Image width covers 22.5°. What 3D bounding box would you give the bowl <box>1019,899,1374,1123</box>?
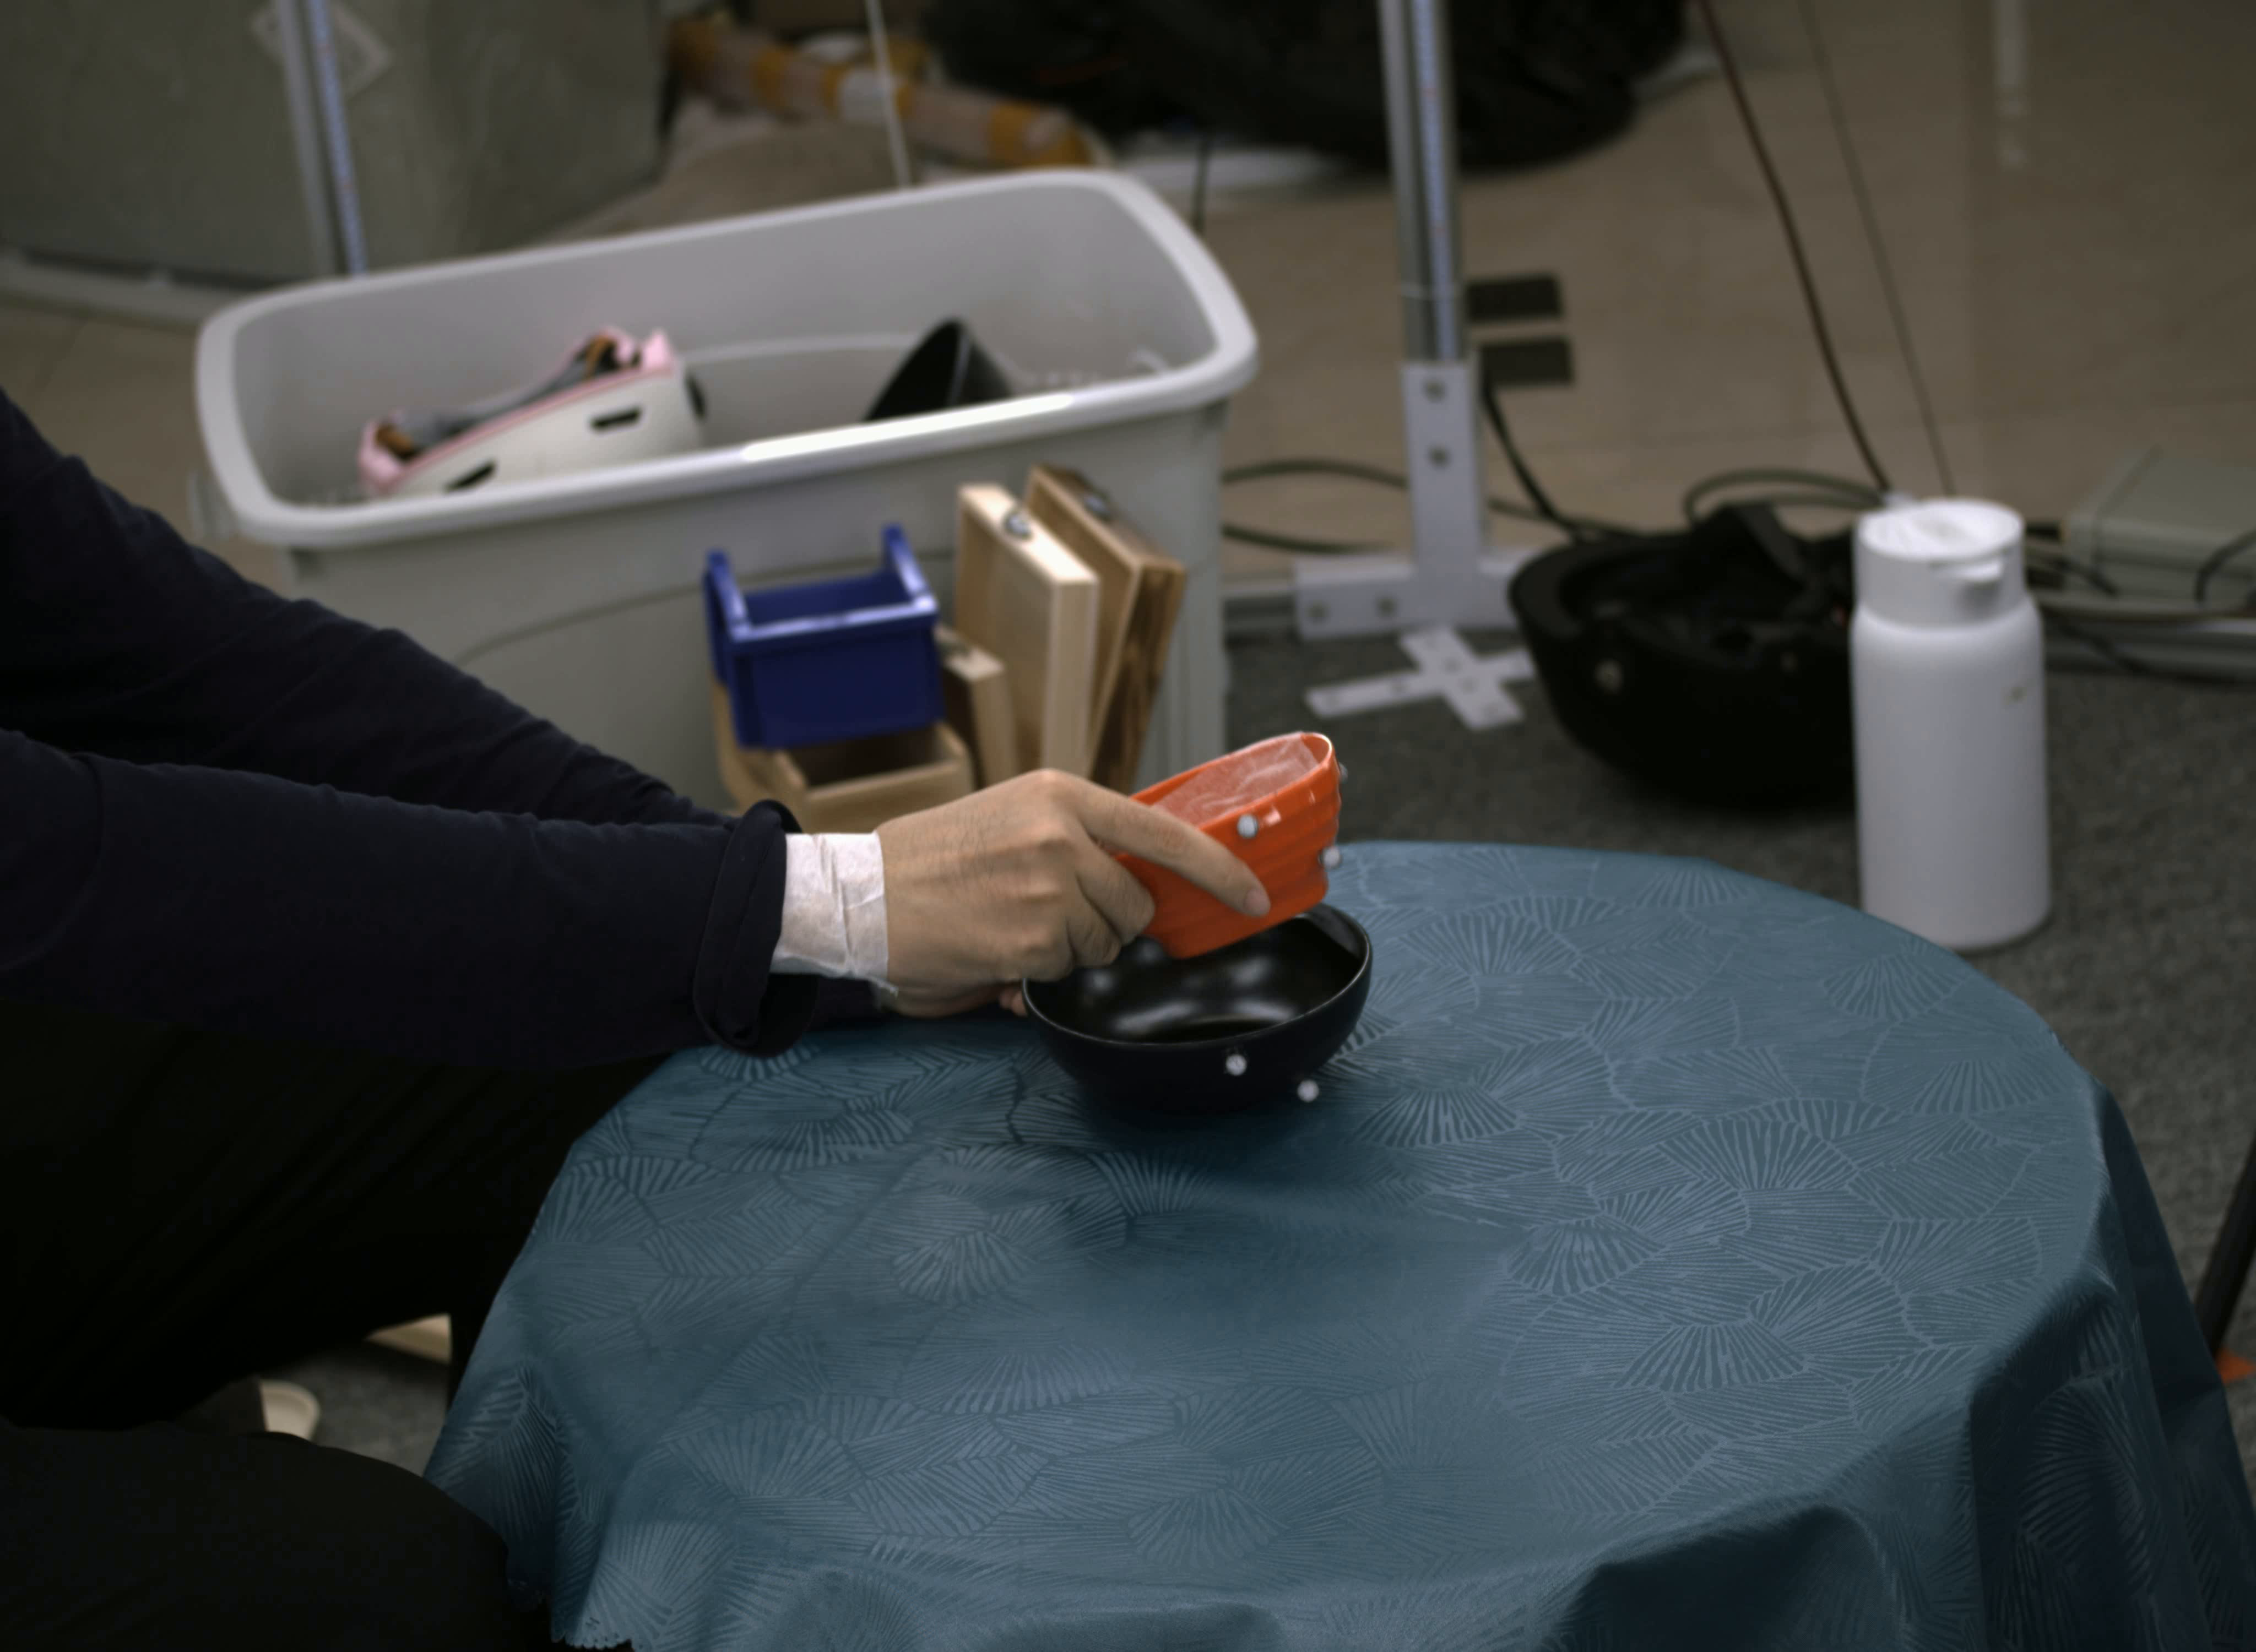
[{"bbox_3d":[0.030,0.078,2.221,0.140,0.050,0.138,-9,24,4],"label":"bowl"}]

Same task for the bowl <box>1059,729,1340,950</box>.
[{"bbox_3d":[0.033,0.009,2.133,0.119,0.052,0.118,-20,12,5],"label":"bowl"}]
